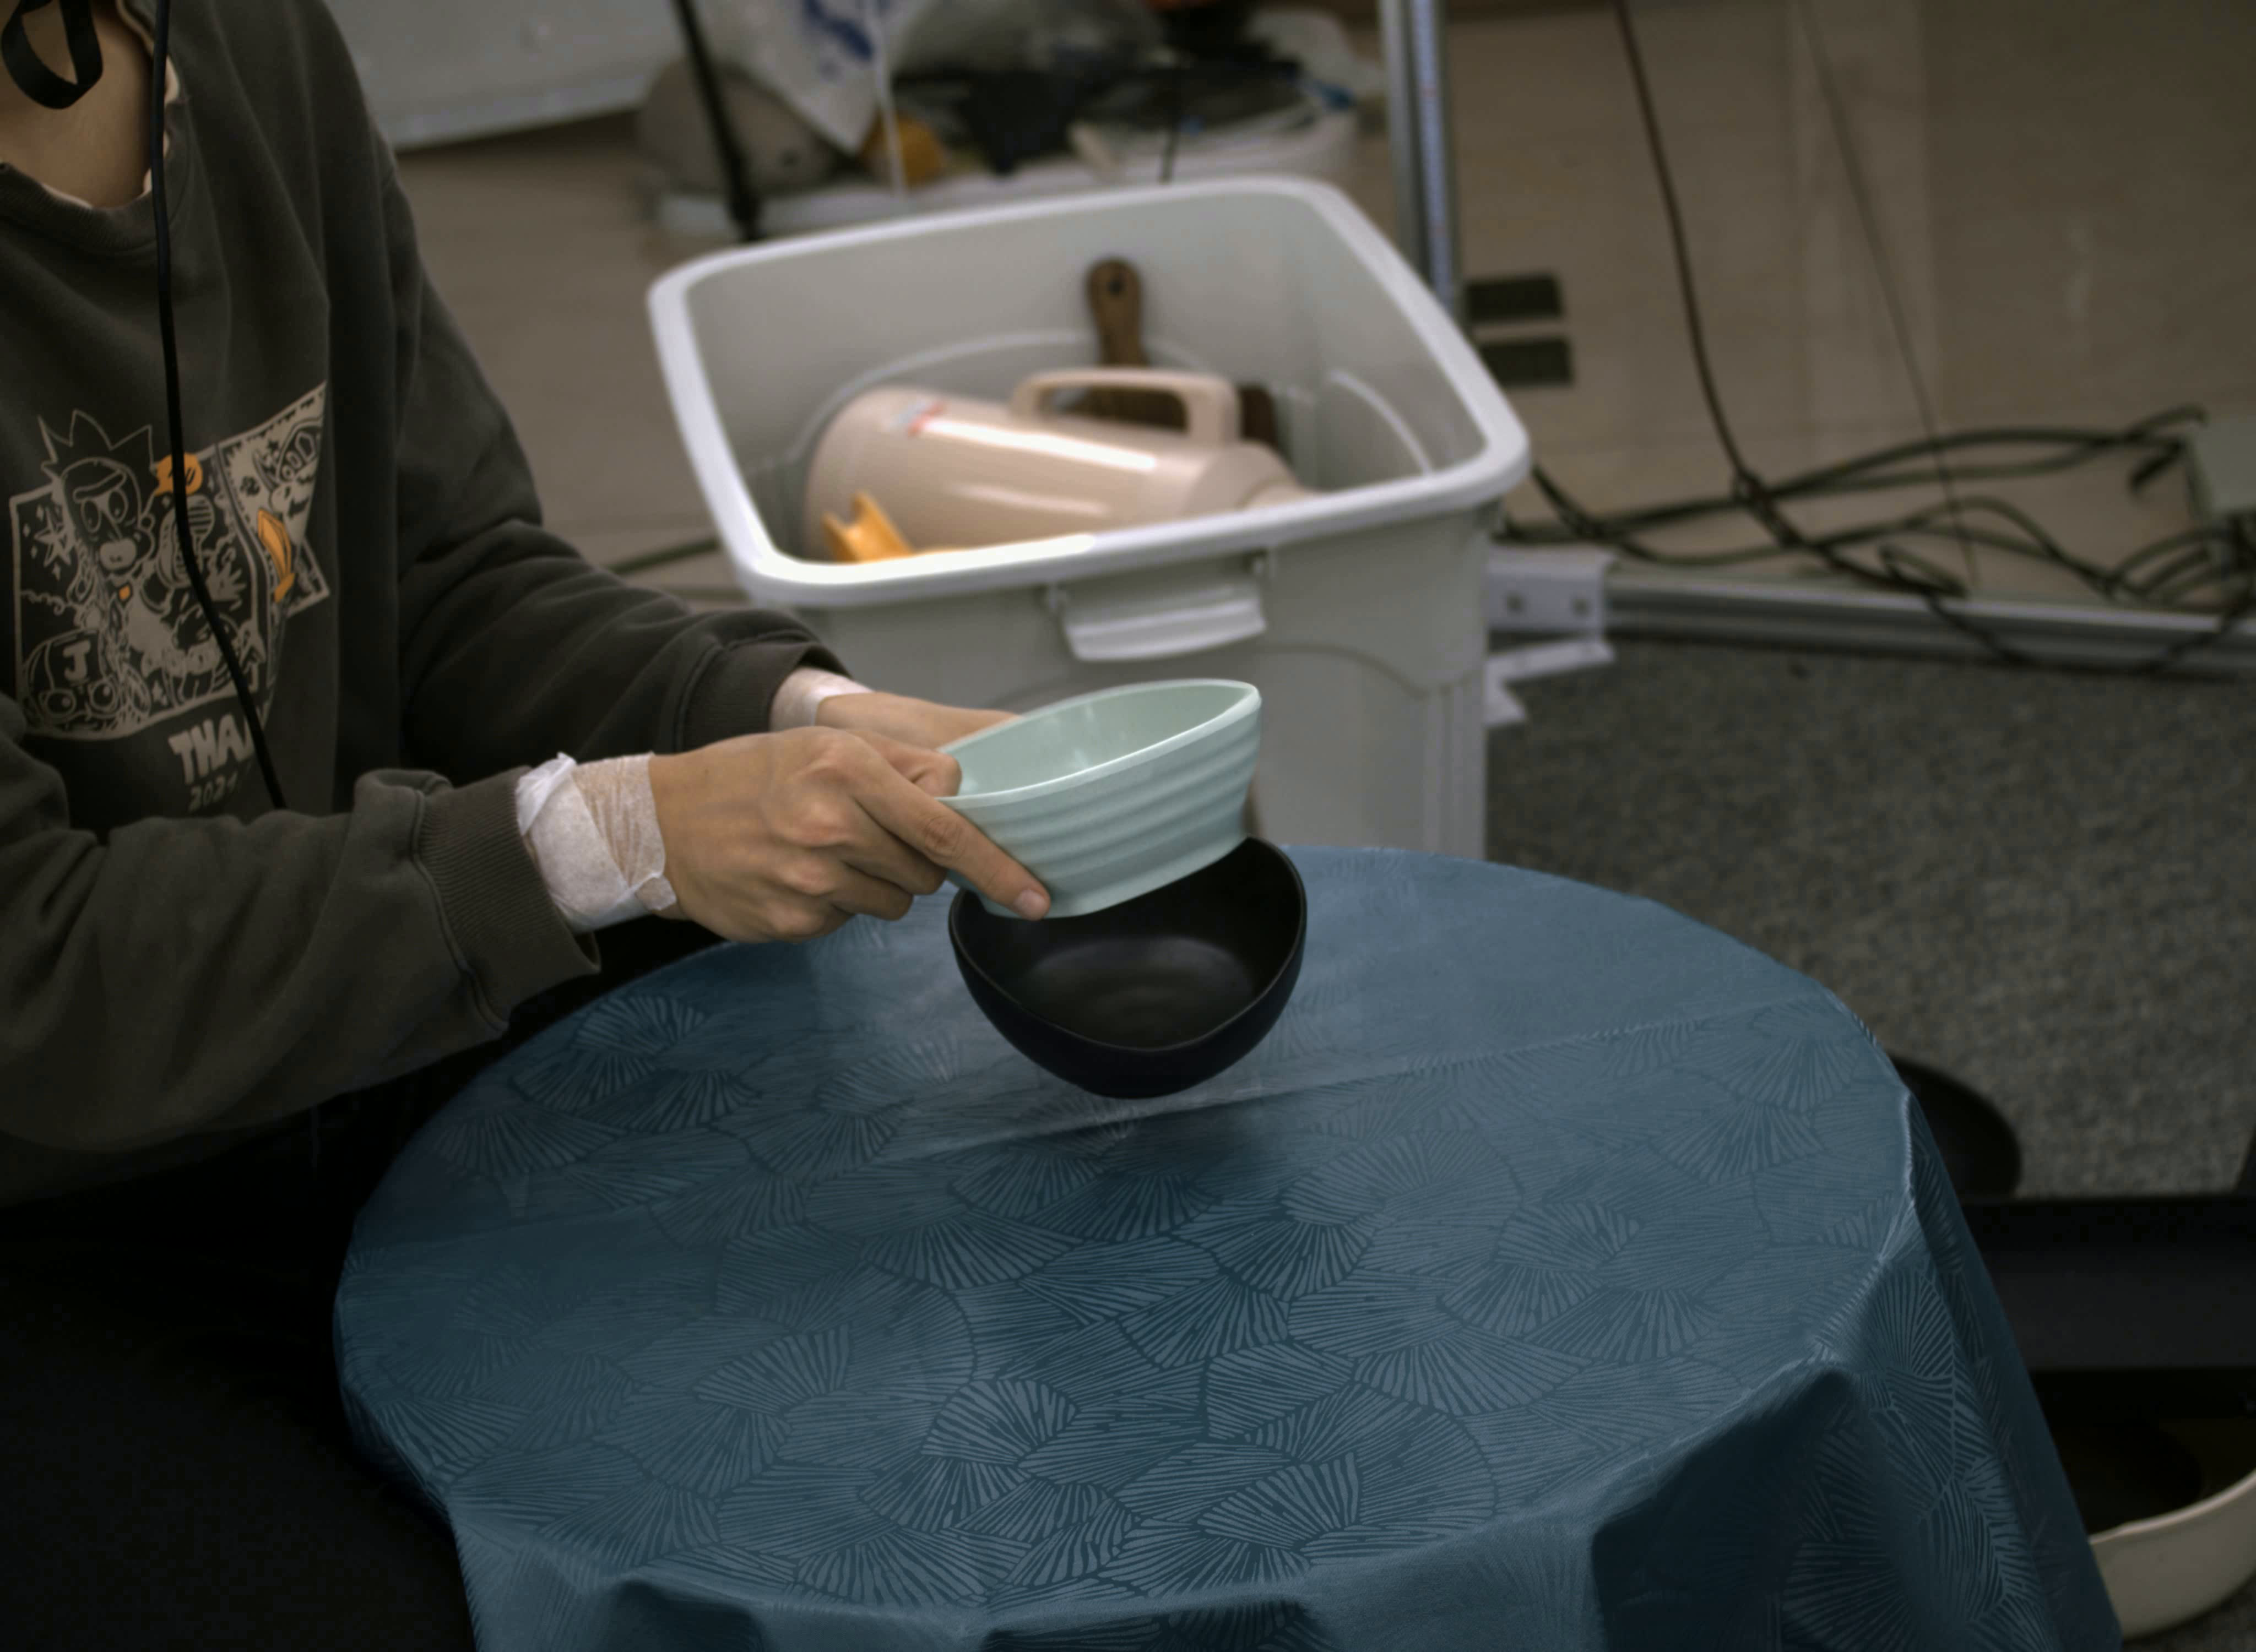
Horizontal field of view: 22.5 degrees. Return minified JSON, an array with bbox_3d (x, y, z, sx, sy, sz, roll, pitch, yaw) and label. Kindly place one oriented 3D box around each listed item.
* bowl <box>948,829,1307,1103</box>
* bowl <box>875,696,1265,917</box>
[{"bbox_3d":[0.004,0.061,2.189,0.137,0.068,0.168,-13,30,-9],"label":"bowl"},{"bbox_3d":[-0.017,-0.005,2.138,0.151,0.059,0.150,-12,9,2],"label":"bowl"}]
